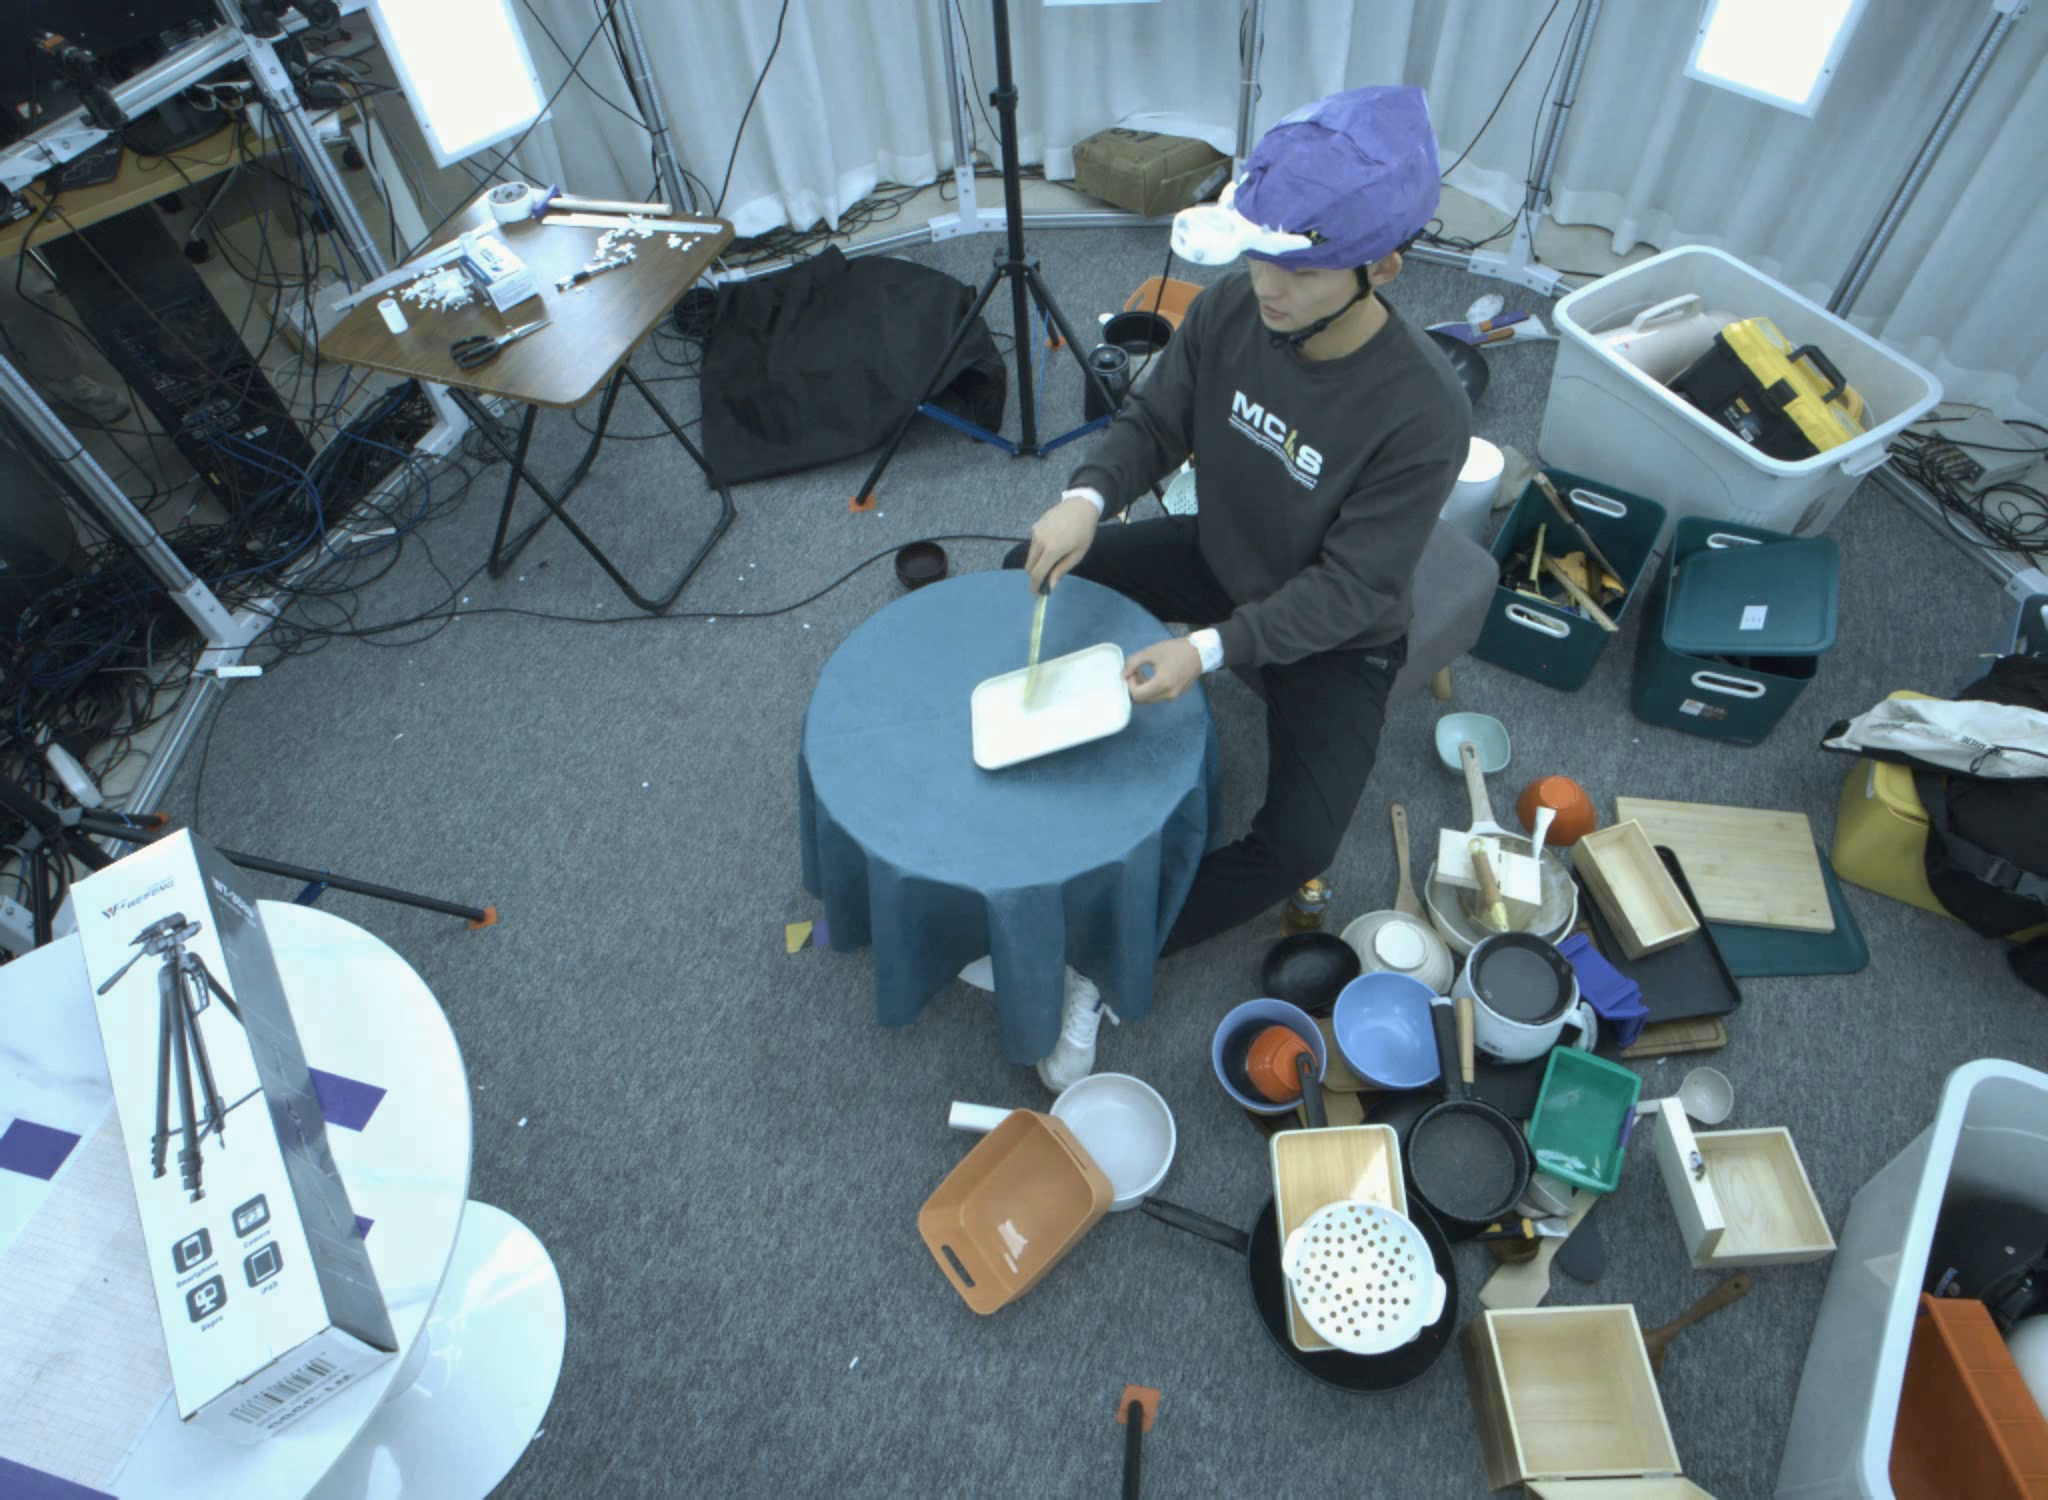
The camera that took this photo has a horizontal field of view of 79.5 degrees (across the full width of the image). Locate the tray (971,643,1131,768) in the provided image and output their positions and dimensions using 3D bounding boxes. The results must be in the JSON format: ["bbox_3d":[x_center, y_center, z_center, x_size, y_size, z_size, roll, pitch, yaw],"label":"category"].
[{"bbox_3d":[0.037,-0.063,1.785,0.238,0.018,0.169,-16,49,13],"label":"tray"}]

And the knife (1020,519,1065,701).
[{"bbox_3d":[0.023,-0.208,1.820,0.027,0.080,0.288,14,75,-11],"label":"knife"}]
